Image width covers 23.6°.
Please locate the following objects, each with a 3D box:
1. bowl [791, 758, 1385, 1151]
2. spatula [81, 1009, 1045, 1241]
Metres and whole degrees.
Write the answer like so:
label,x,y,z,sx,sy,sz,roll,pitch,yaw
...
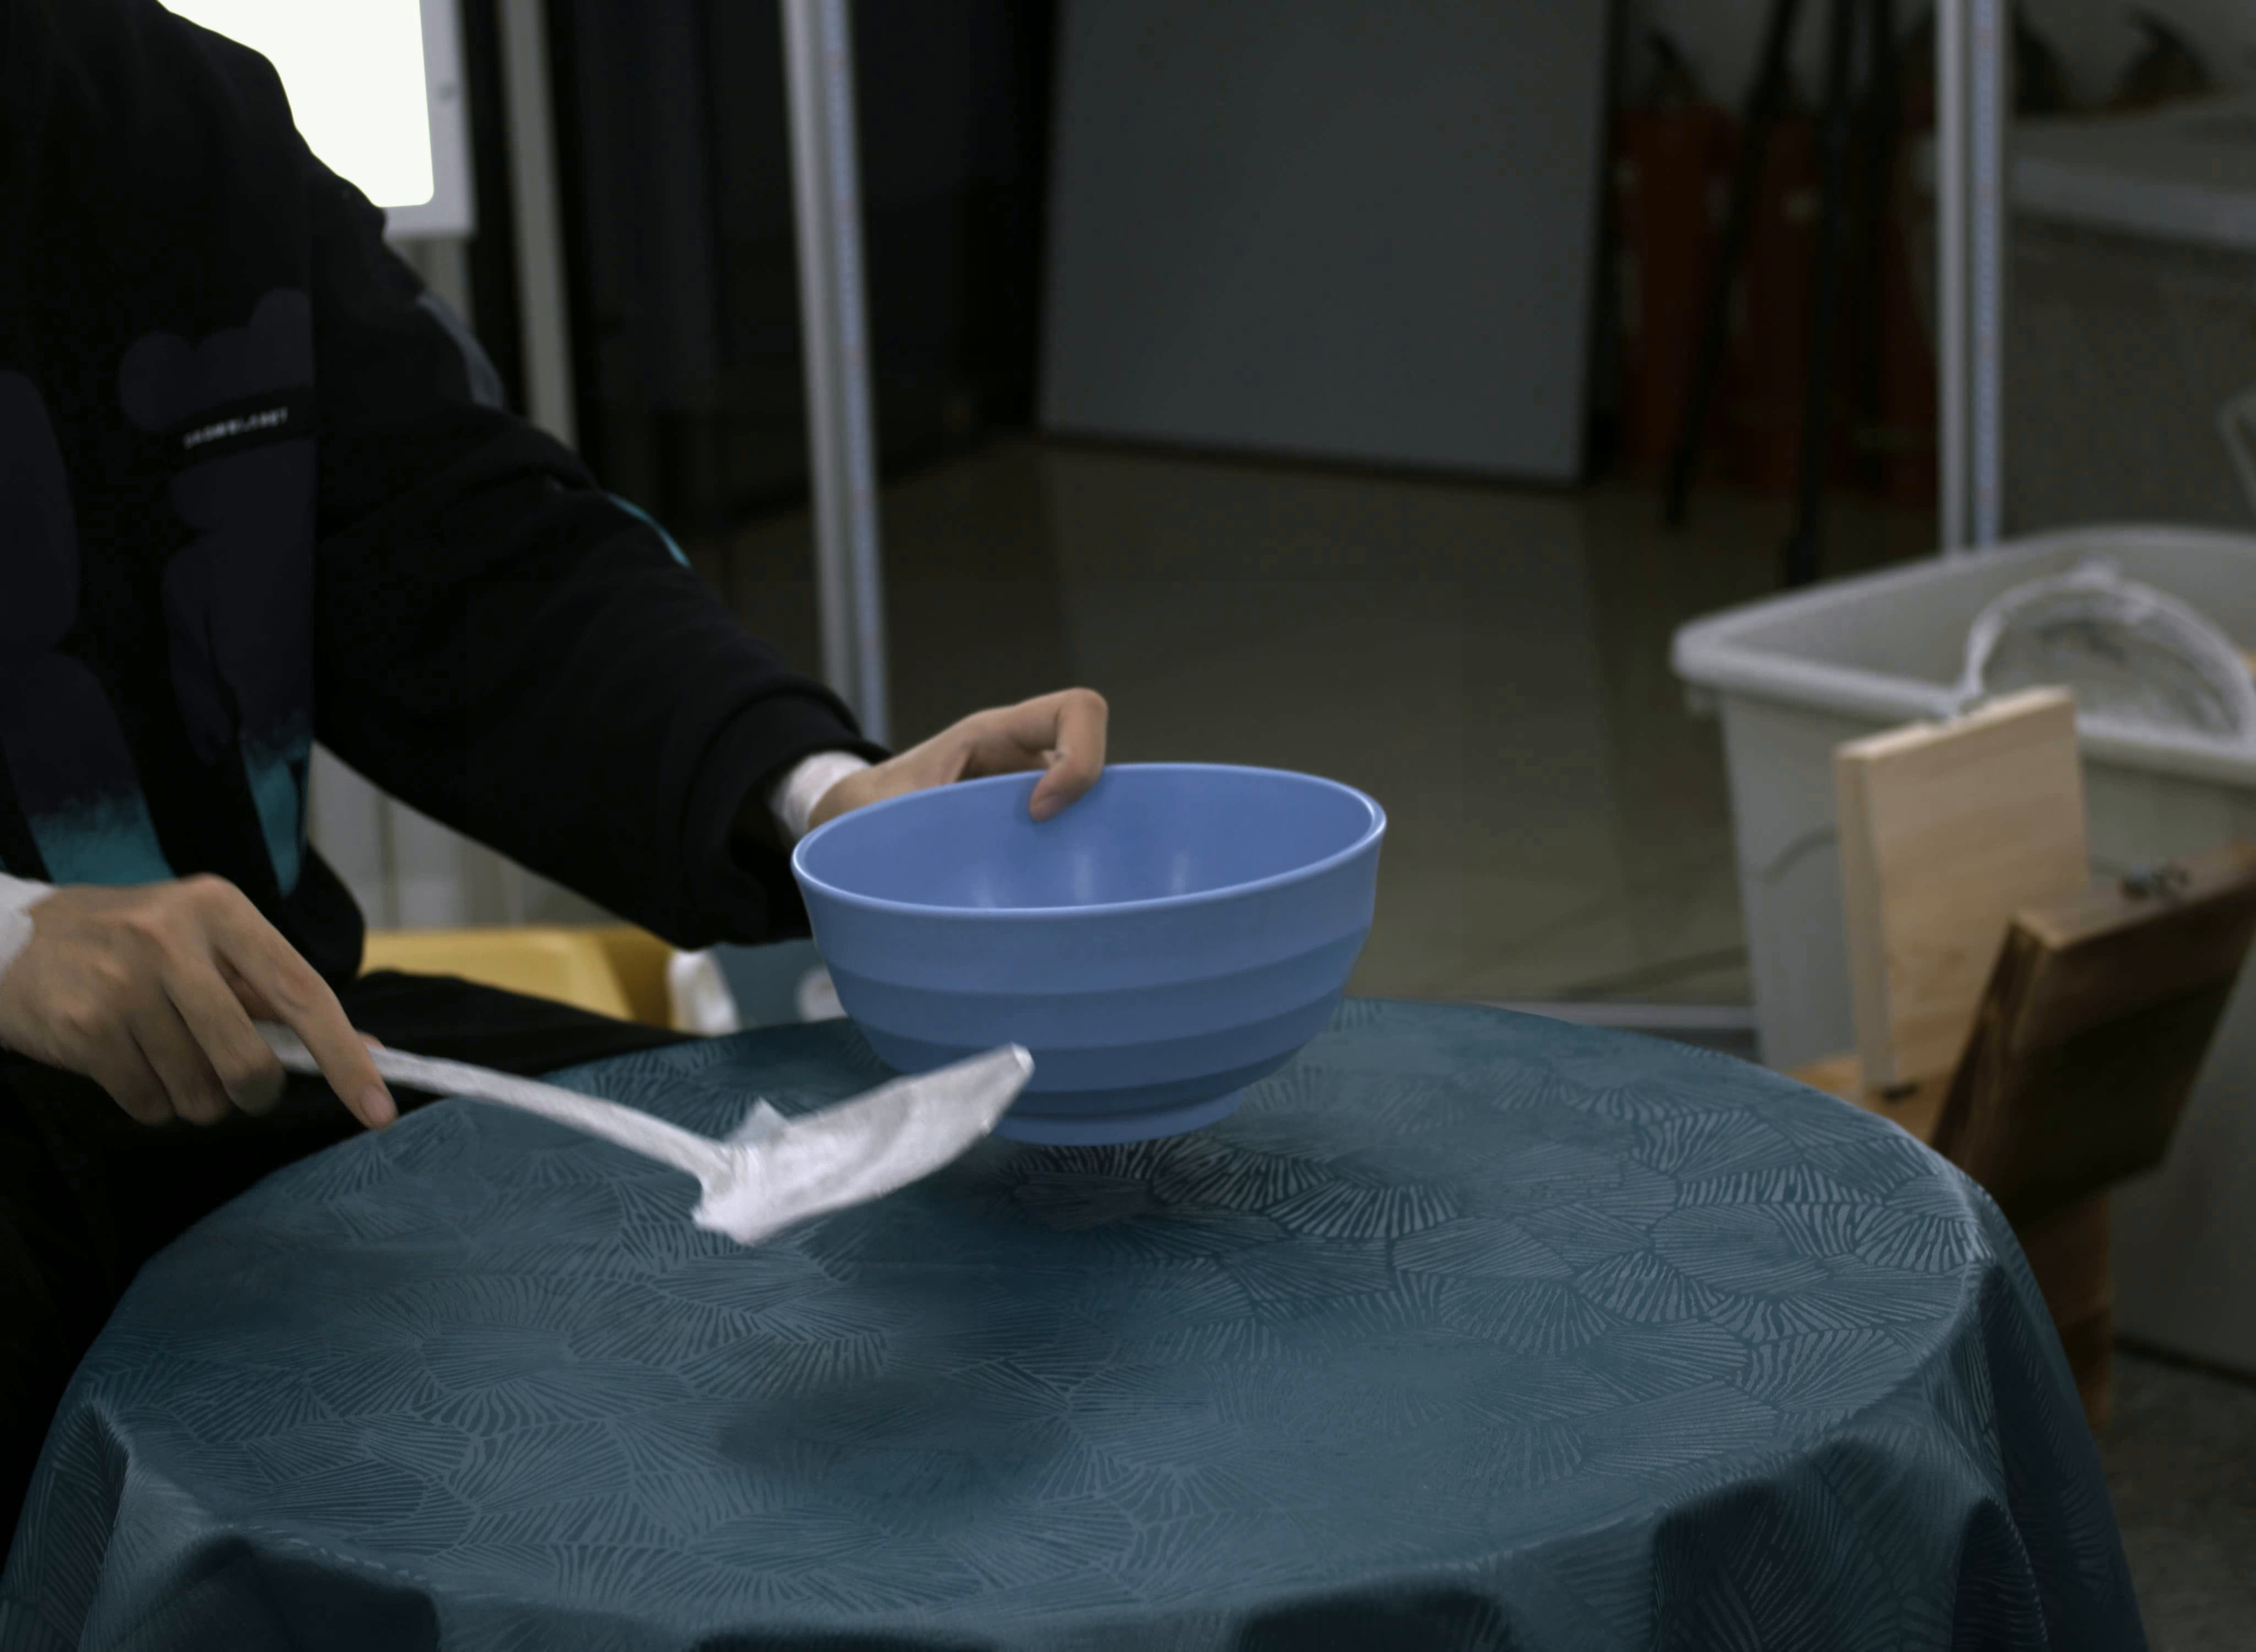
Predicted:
label,x,y,z,sx,sy,sz,roll,pitch,yaw
bowl,-0.009,0.047,1.765,0.194,0.096,0.197,-5,14,0
spatula,-0.191,0.078,1.656,0.366,0.045,0.097,10,32,30
